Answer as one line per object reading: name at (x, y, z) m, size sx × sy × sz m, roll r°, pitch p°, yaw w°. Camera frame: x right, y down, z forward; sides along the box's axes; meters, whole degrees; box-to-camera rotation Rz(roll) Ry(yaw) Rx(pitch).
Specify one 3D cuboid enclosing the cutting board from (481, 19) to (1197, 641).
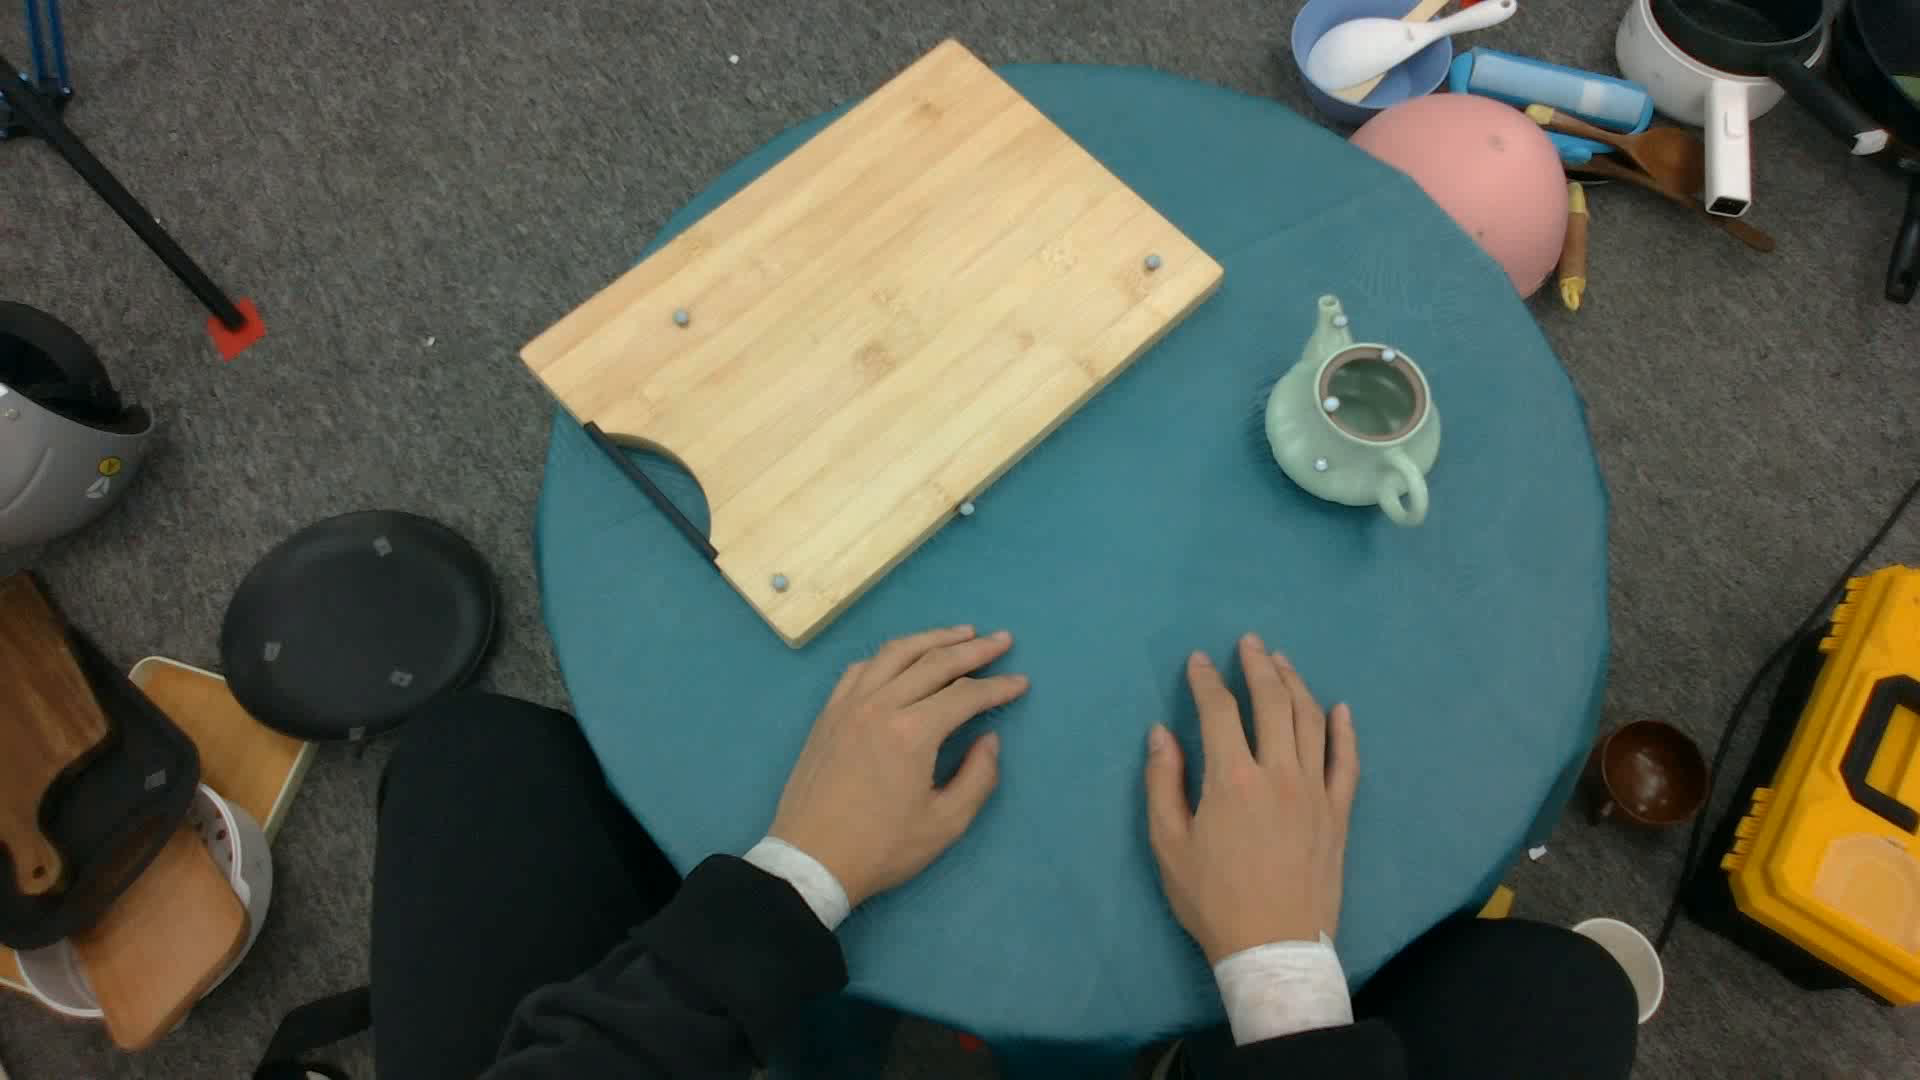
cutting board at (-0.064, -0.138, 0.805) m, size 0.251 × 0.023 × 0.349 m, roll 43°, pitch 73°, yaw 15°

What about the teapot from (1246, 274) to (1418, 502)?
teapot at (0.212, -0.078, 0.764) m, size 0.096 × 0.061 × 0.137 m, roll -18°, pitch 69°, yaw -10°
